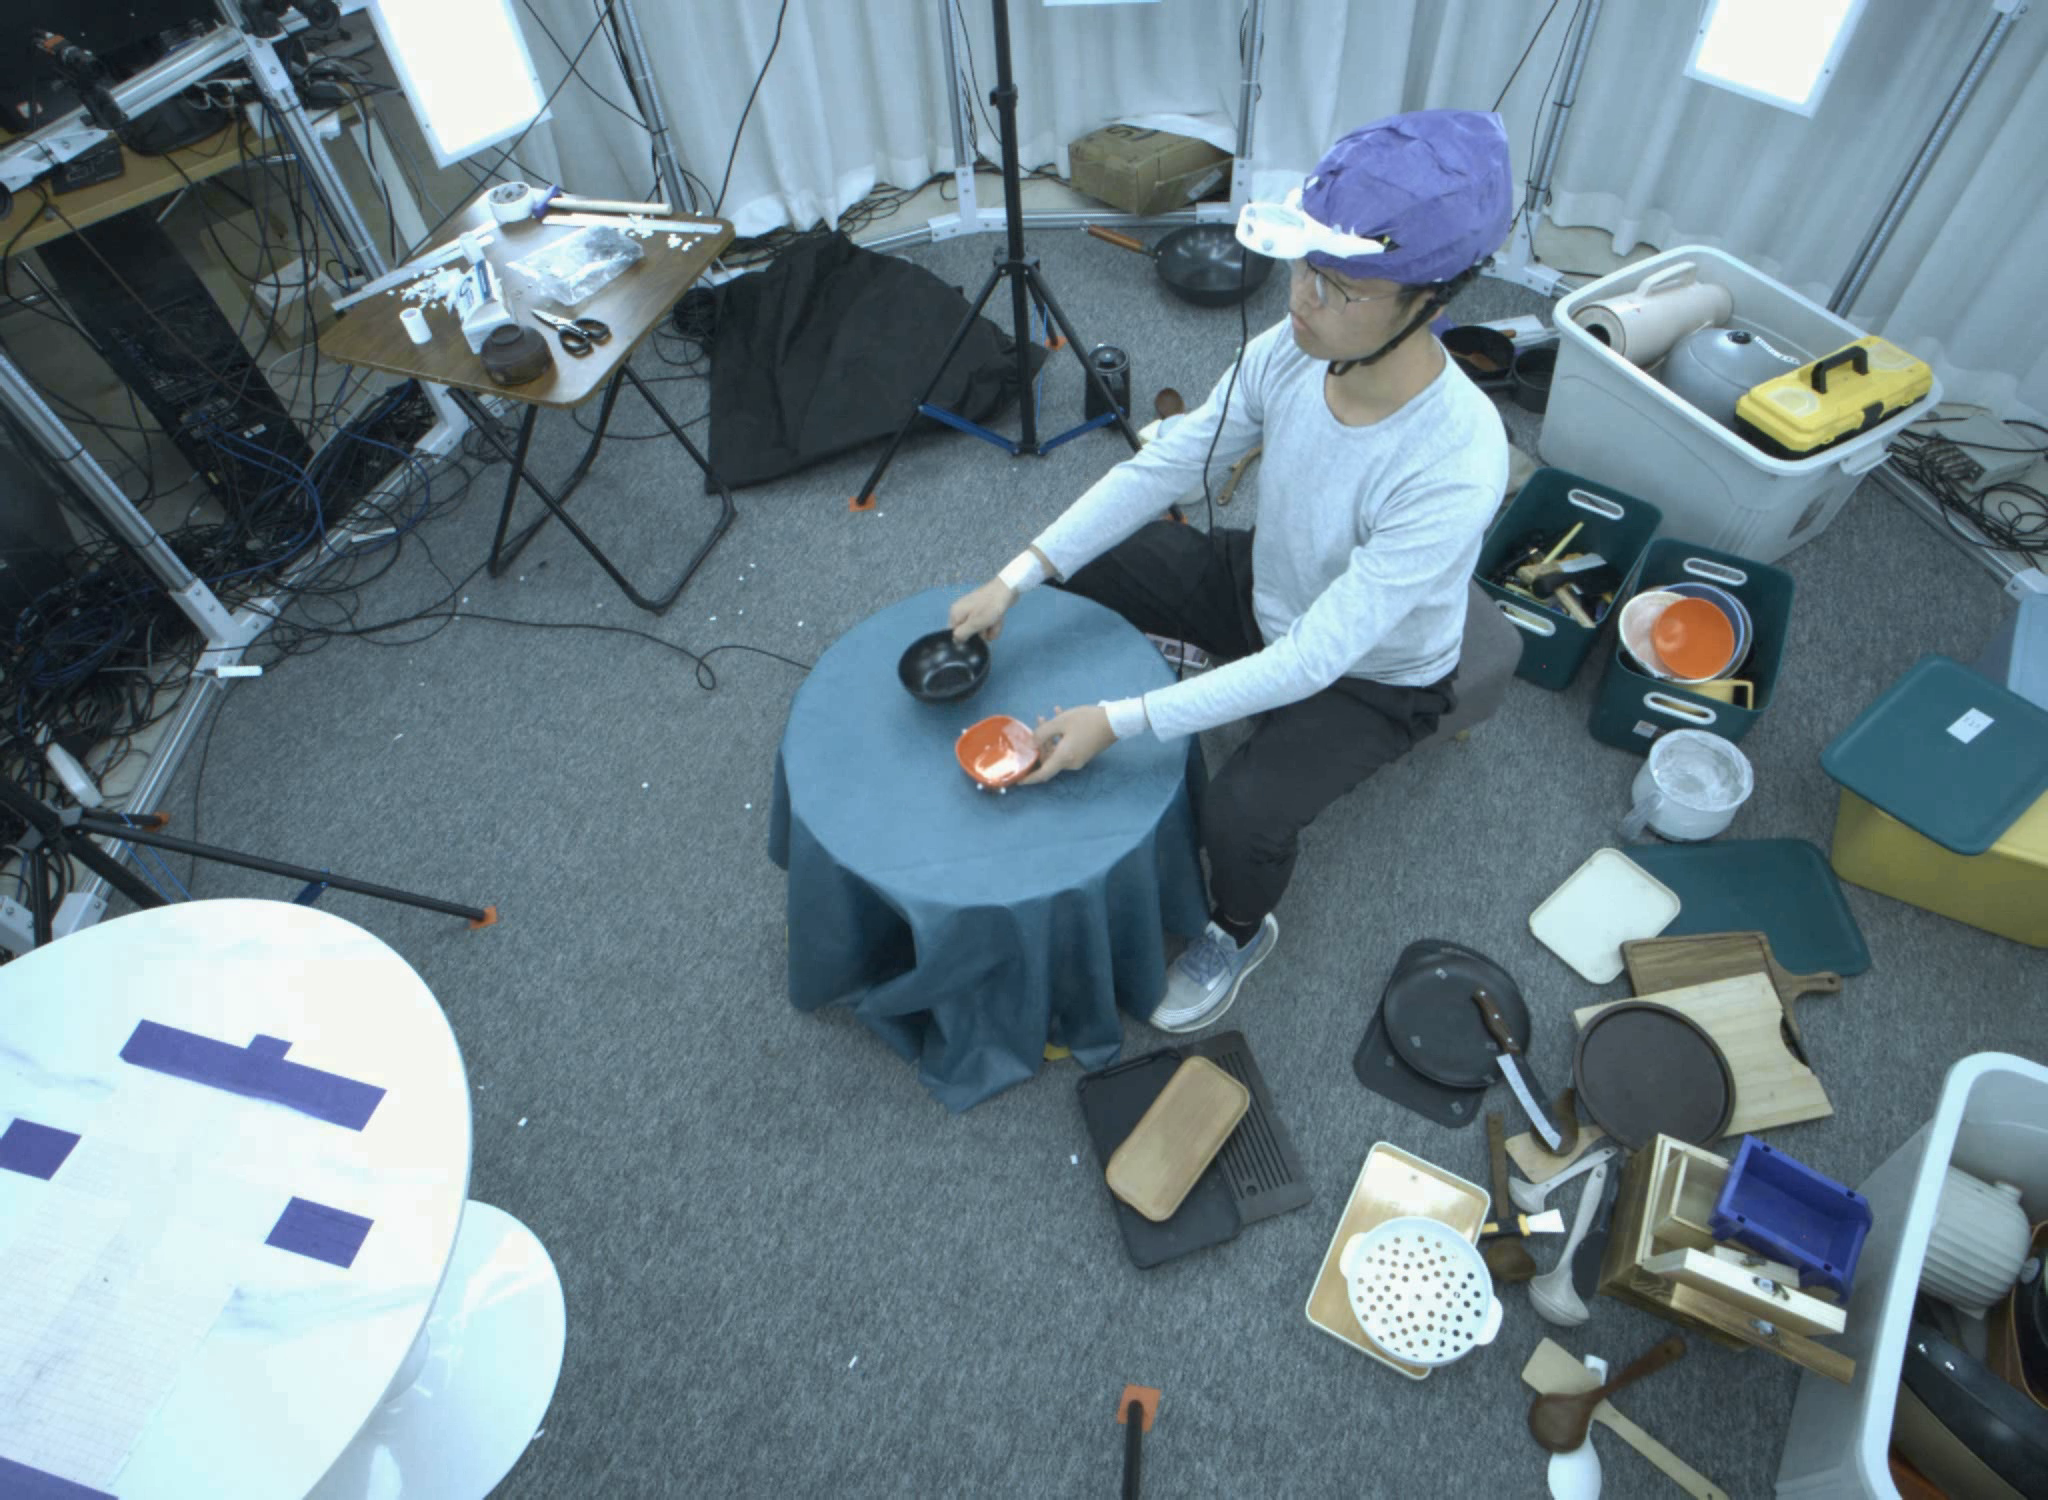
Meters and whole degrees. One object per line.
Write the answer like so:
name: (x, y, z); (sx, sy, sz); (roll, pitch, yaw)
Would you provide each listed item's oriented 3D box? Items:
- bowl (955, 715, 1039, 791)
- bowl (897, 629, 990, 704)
bowl: (-0.036, 0.012, 1.752); (0.118, 0.052, 0.118); (-2, 56, 4)
bowl: (-0.115, -0.115, 1.814); (0.139, 0.050, 0.138); (-3, 49, 5)
